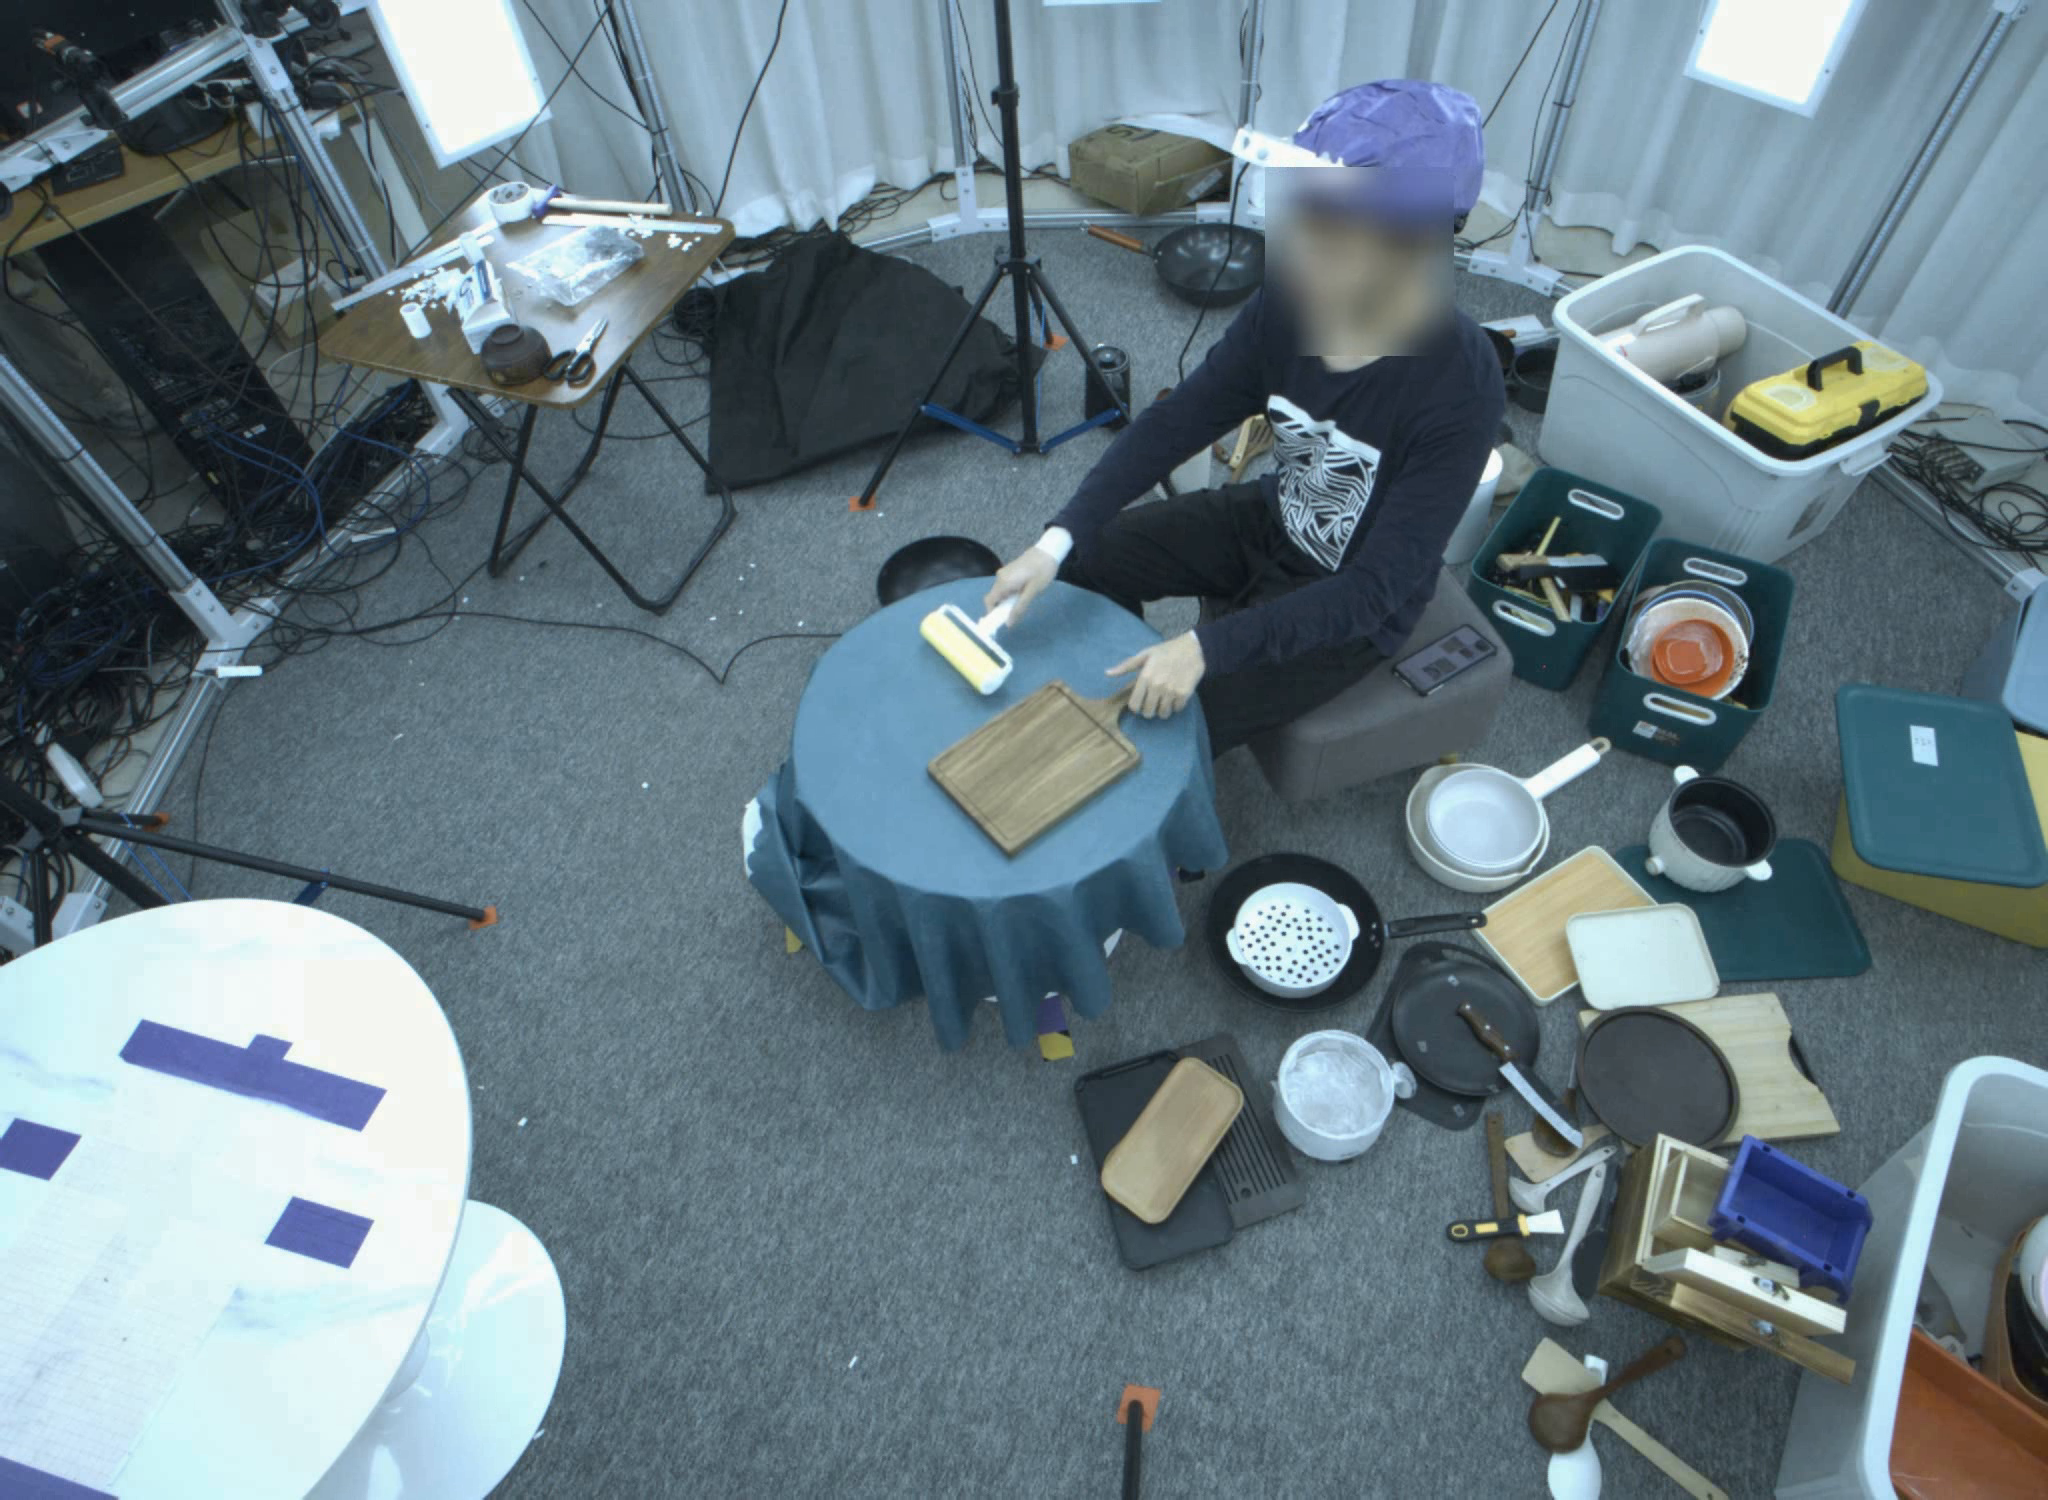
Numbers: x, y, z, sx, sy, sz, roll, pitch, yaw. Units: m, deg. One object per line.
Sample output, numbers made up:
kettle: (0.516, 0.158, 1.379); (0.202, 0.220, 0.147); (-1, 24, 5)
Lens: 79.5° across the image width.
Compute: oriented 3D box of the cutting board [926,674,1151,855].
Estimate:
cutting board: (0.051, -0.009, 1.787); (0.355, 0.023, 0.197); (-35, 61, -22)

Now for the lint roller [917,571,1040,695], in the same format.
lint roller: (-0.051, -0.202, 1.865); (0.192, 0.052, 0.171); (-50, 60, 4)
